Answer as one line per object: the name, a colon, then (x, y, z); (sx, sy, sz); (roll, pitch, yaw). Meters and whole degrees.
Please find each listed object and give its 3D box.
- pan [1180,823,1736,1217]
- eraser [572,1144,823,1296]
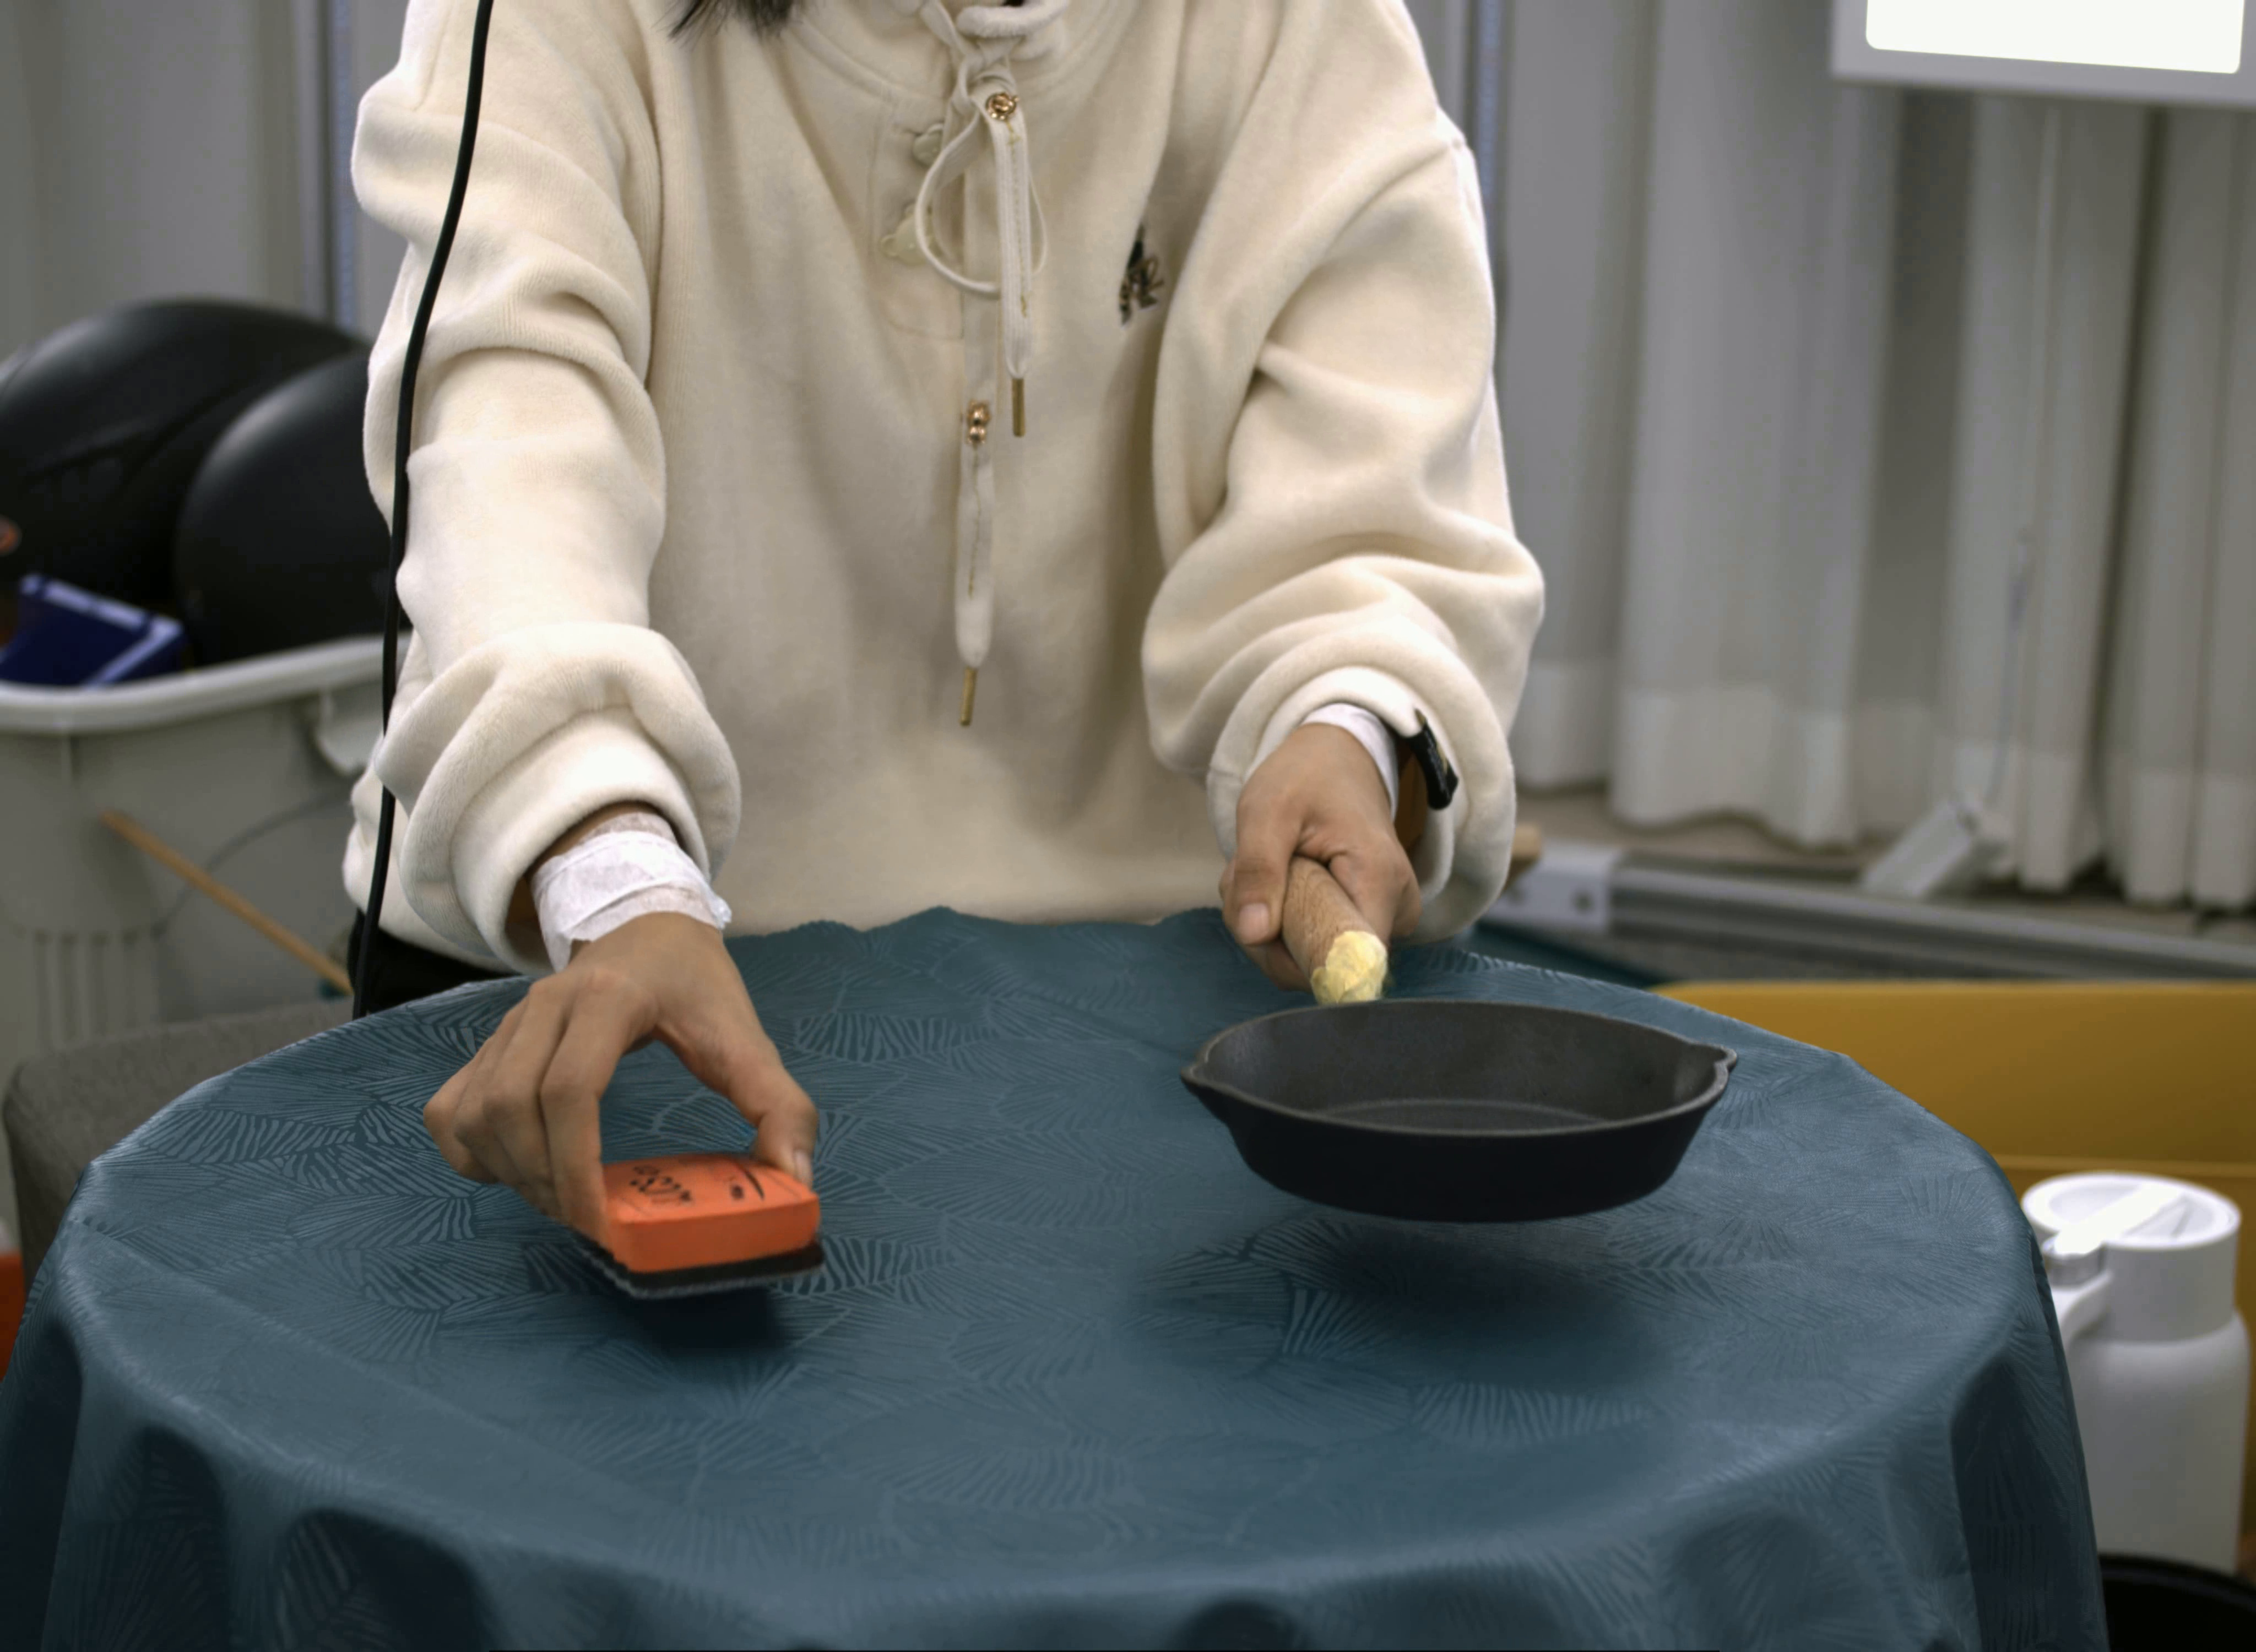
pan: (0.082, 0.057, 1.632); (0.169, 0.050, 0.321); (-2, 14, -11)
eraser: (-0.126, 0.113, 1.524); (0.059, 0.023, 0.107); (-8, 6, -14)
